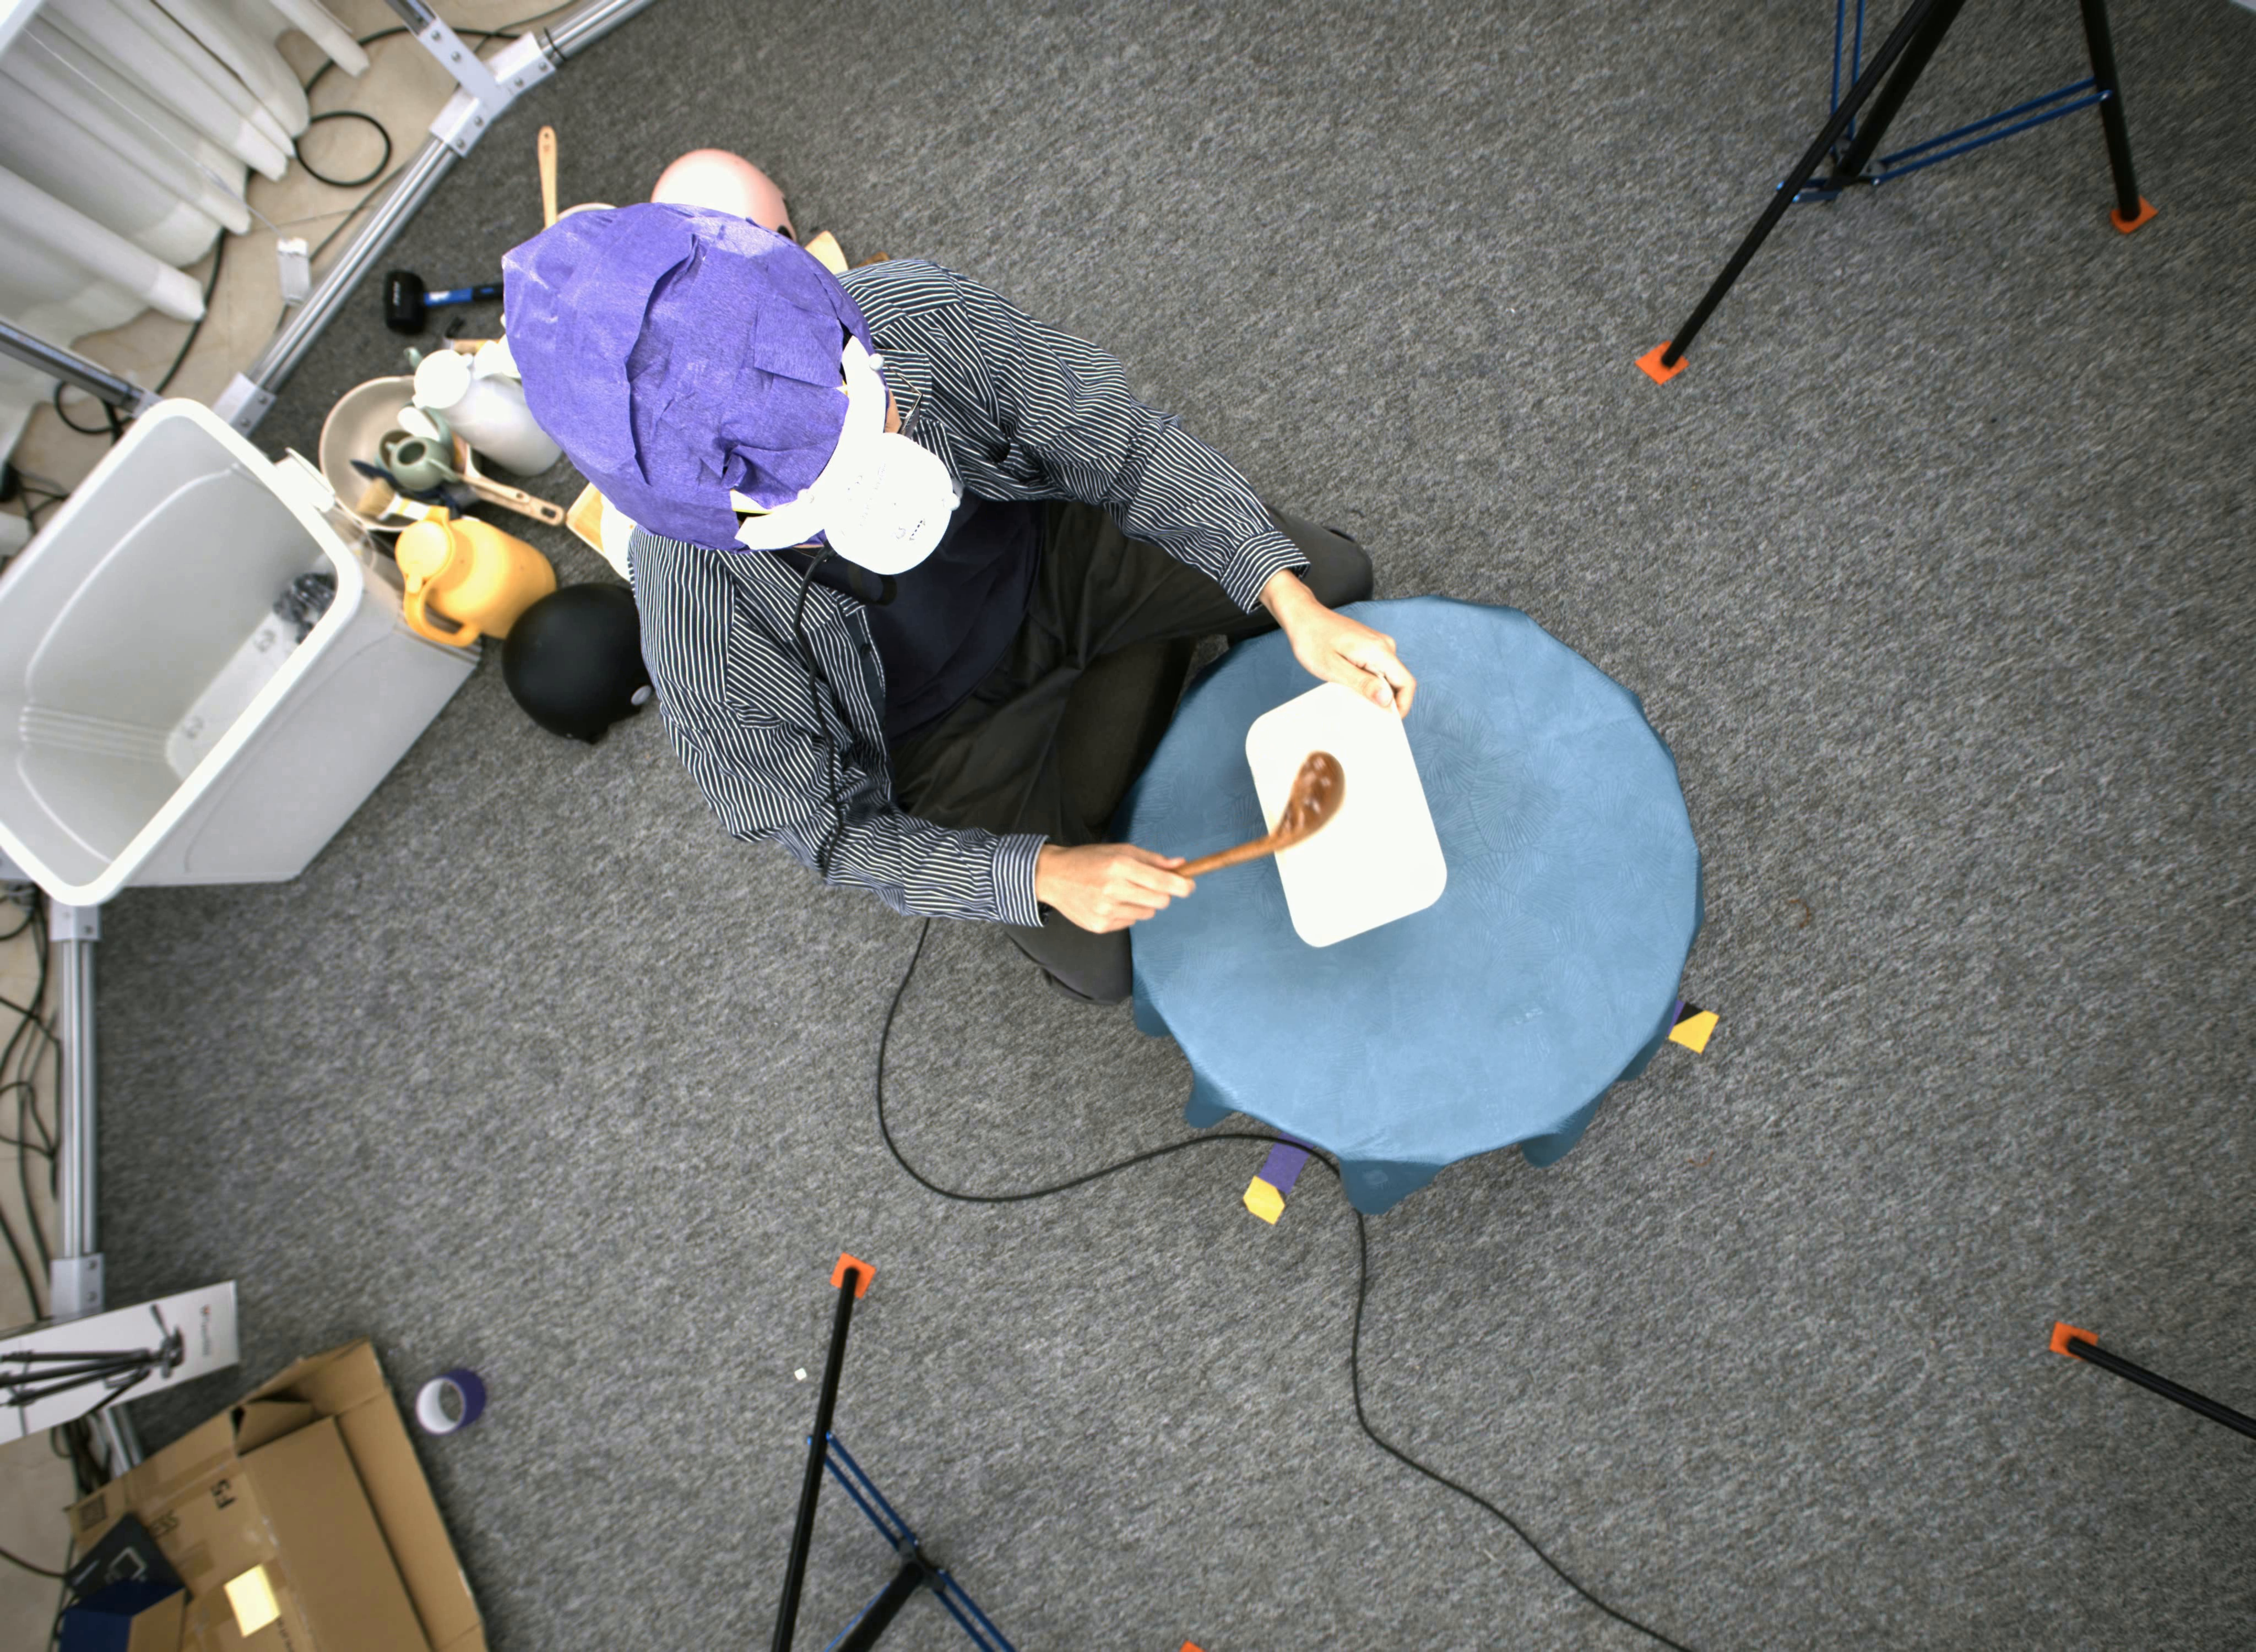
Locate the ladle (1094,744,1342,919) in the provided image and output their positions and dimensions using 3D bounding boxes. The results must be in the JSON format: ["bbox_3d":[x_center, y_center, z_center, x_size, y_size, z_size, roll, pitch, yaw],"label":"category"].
[{"bbox_3d":[0.077,0.005,1.298,0.278,0.082,0.075,-23,69,25],"label":"ladle"}]

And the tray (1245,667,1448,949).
[{"bbox_3d":[0.203,-0.016,1.295,0.174,0.017,0.237,-25,74,38],"label":"tray"}]
